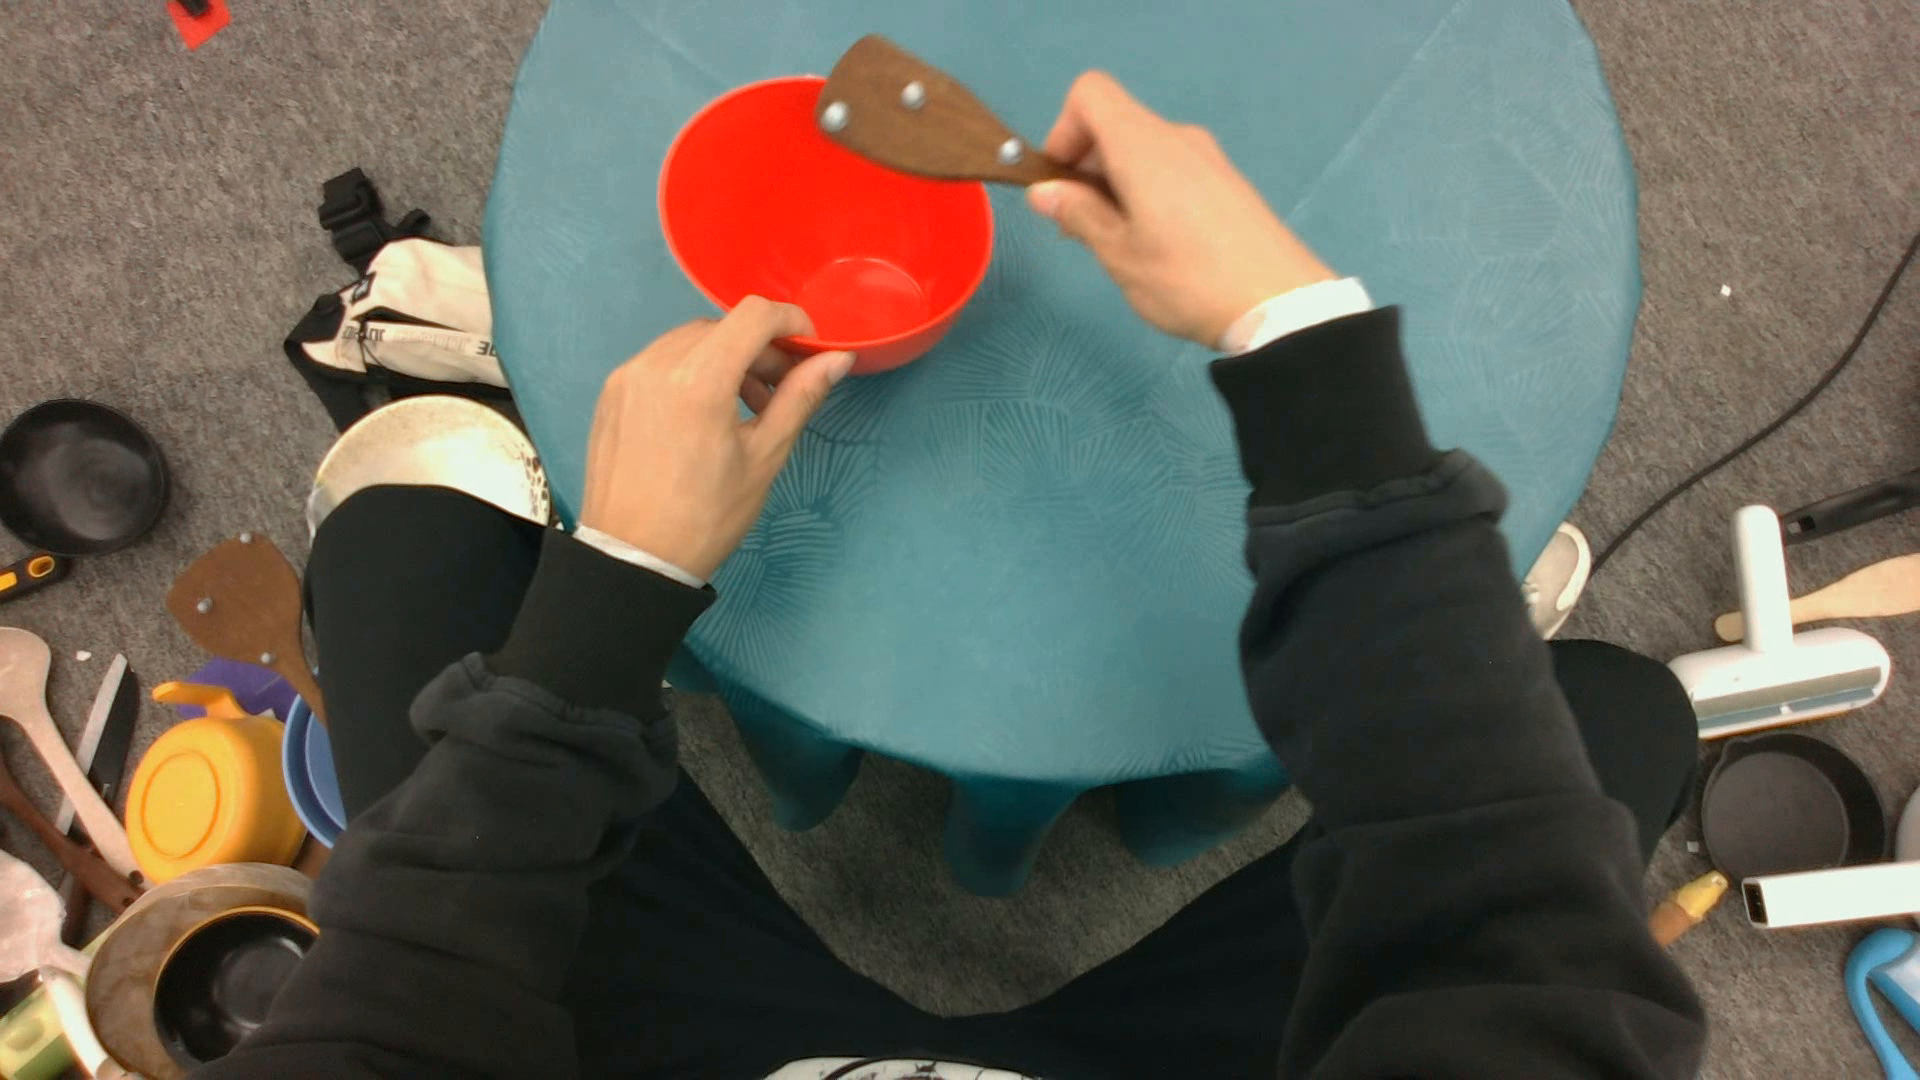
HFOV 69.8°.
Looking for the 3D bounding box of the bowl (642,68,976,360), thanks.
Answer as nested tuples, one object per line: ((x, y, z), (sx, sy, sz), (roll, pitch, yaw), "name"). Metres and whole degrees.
((-0.068, -0.139, 0.655), (0.148, 0.104, 0.148), (1, 65, -2), "bowl")

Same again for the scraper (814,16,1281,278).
((0.041, -0.163, 0.592), (0.211, 0.011, 0.076), (24, 55, -1), "scraper")
